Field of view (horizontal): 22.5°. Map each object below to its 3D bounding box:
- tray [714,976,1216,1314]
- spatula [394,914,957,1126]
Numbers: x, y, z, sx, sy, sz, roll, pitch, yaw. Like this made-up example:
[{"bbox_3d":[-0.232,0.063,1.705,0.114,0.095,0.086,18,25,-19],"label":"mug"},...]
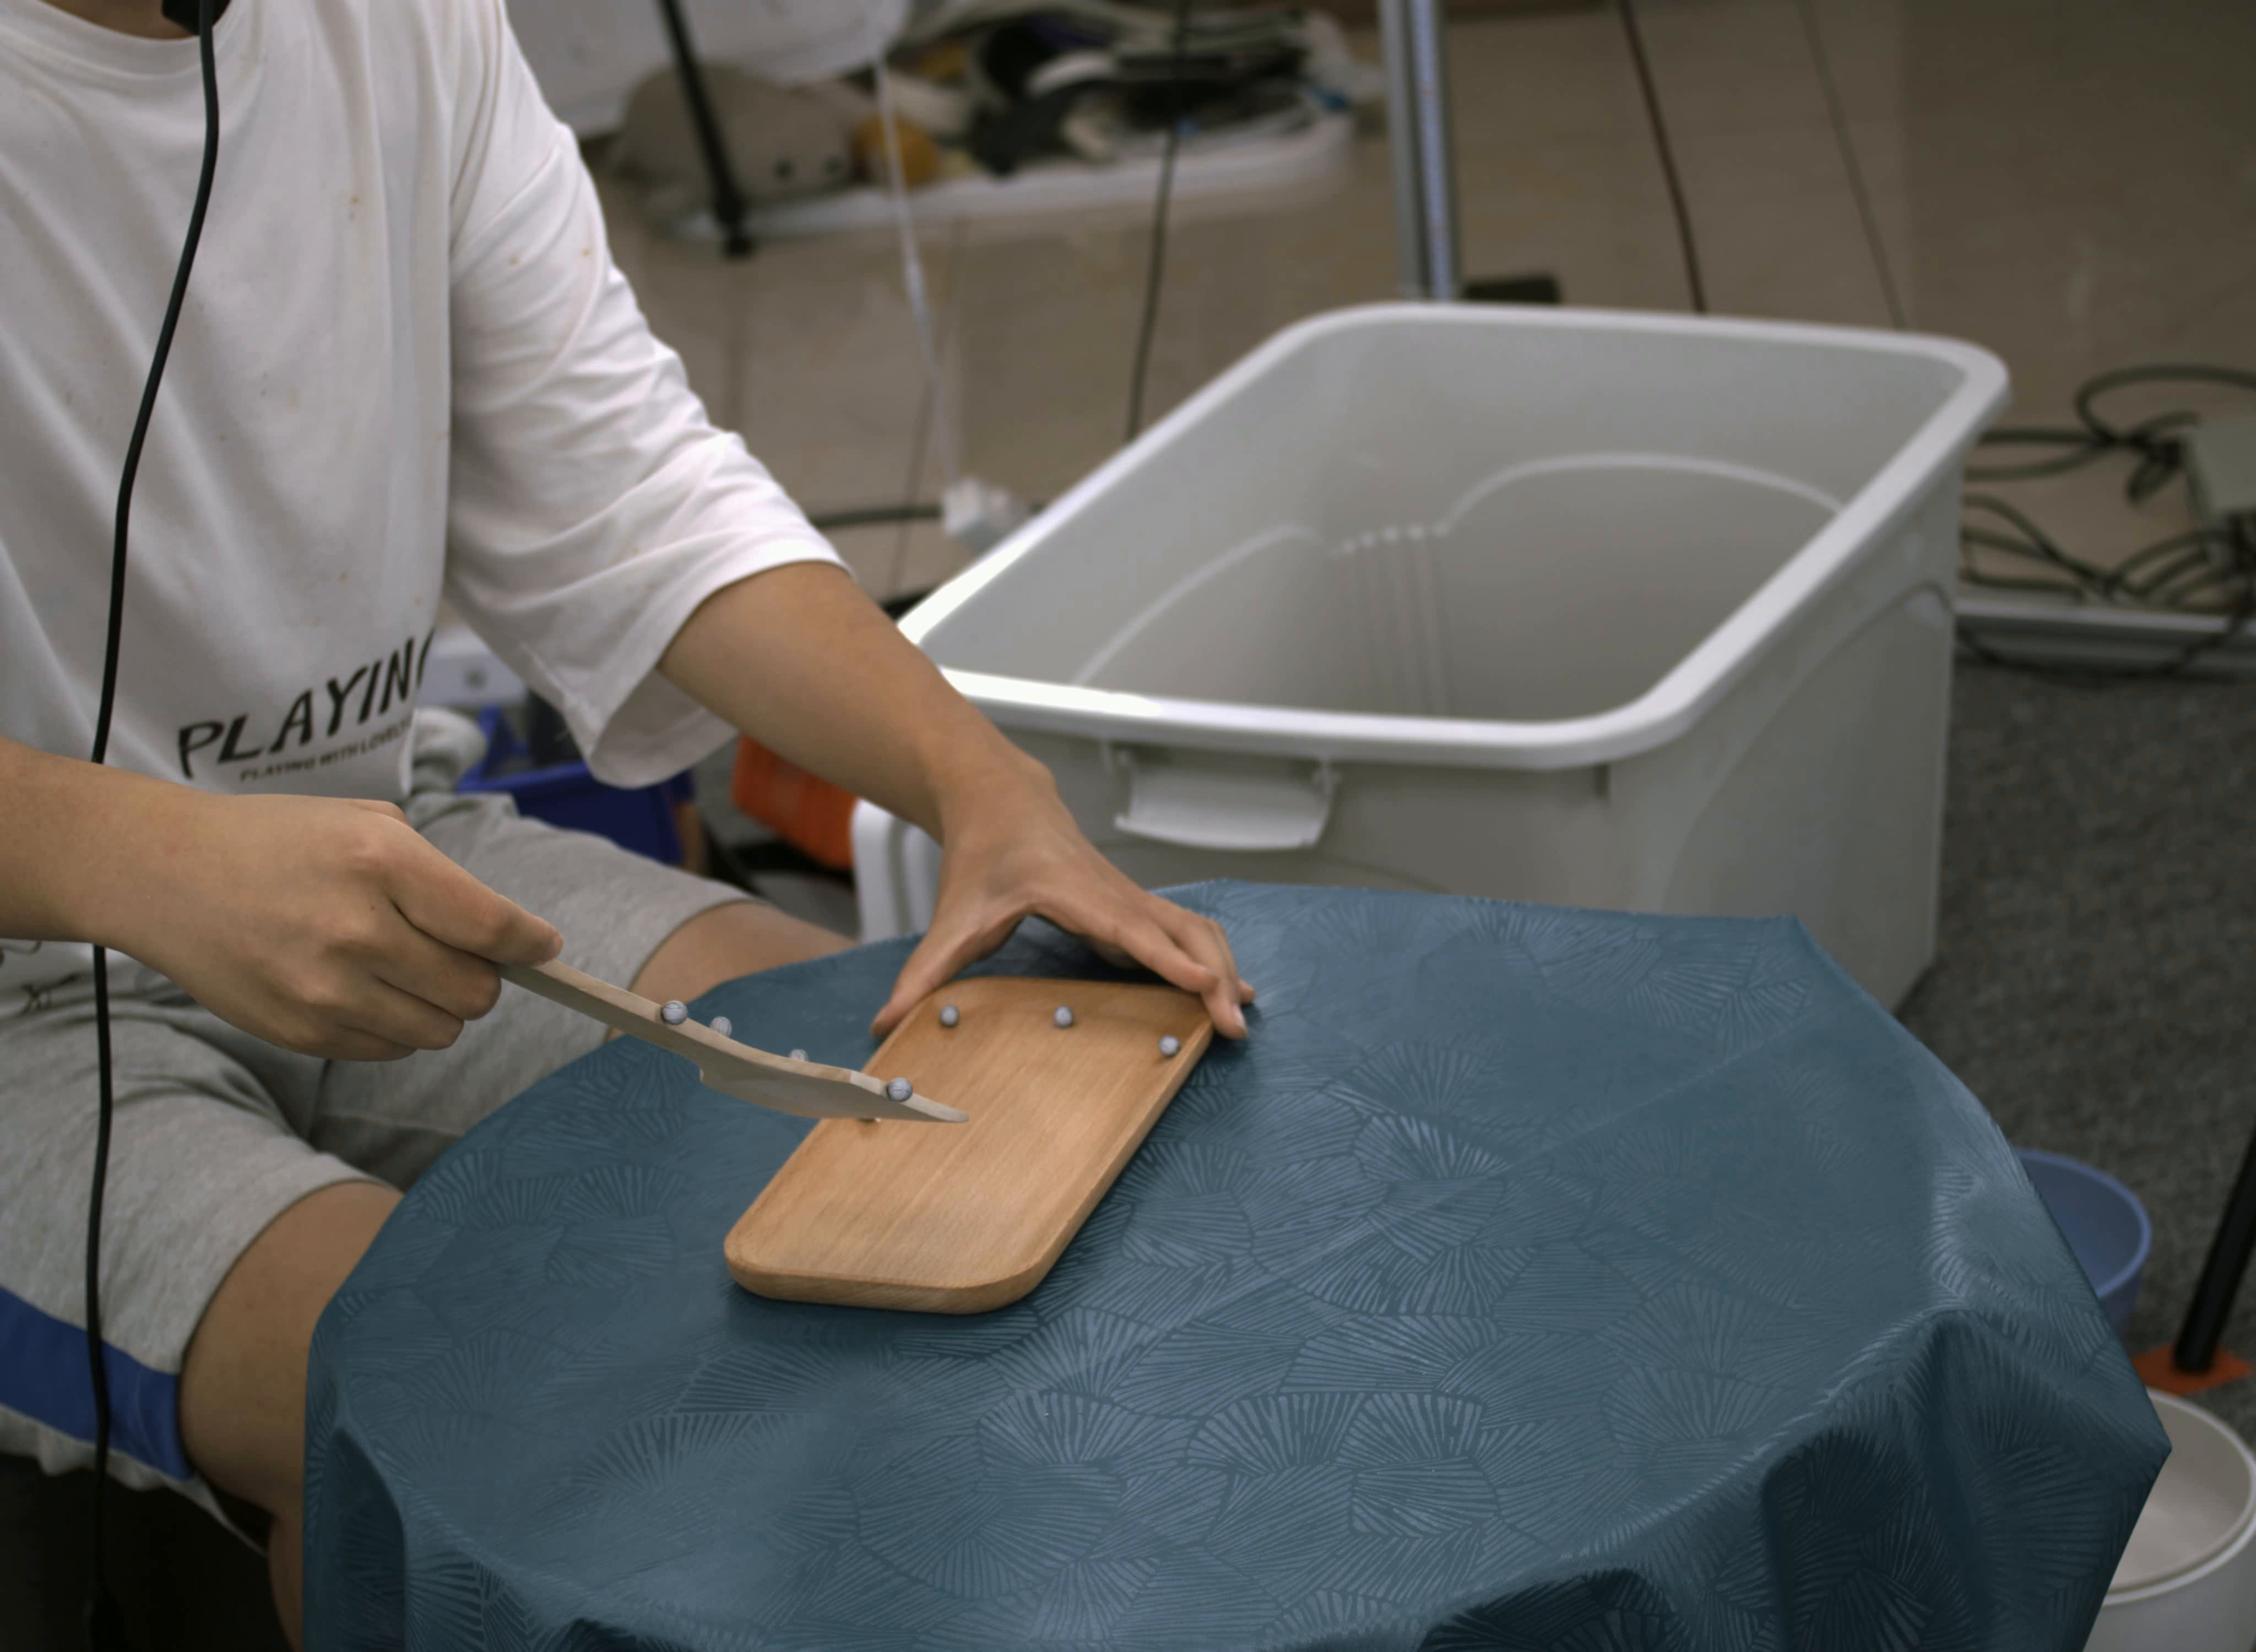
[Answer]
[{"bbox_3d":[-0.059,0.121,2.182,0.130,0.023,0.247,1,26,23],"label":"tray"},{"bbox_3d":[-0.160,0.071,1.964,0.072,0.010,0.295,0,-16,30],"label":"spatula"}]
